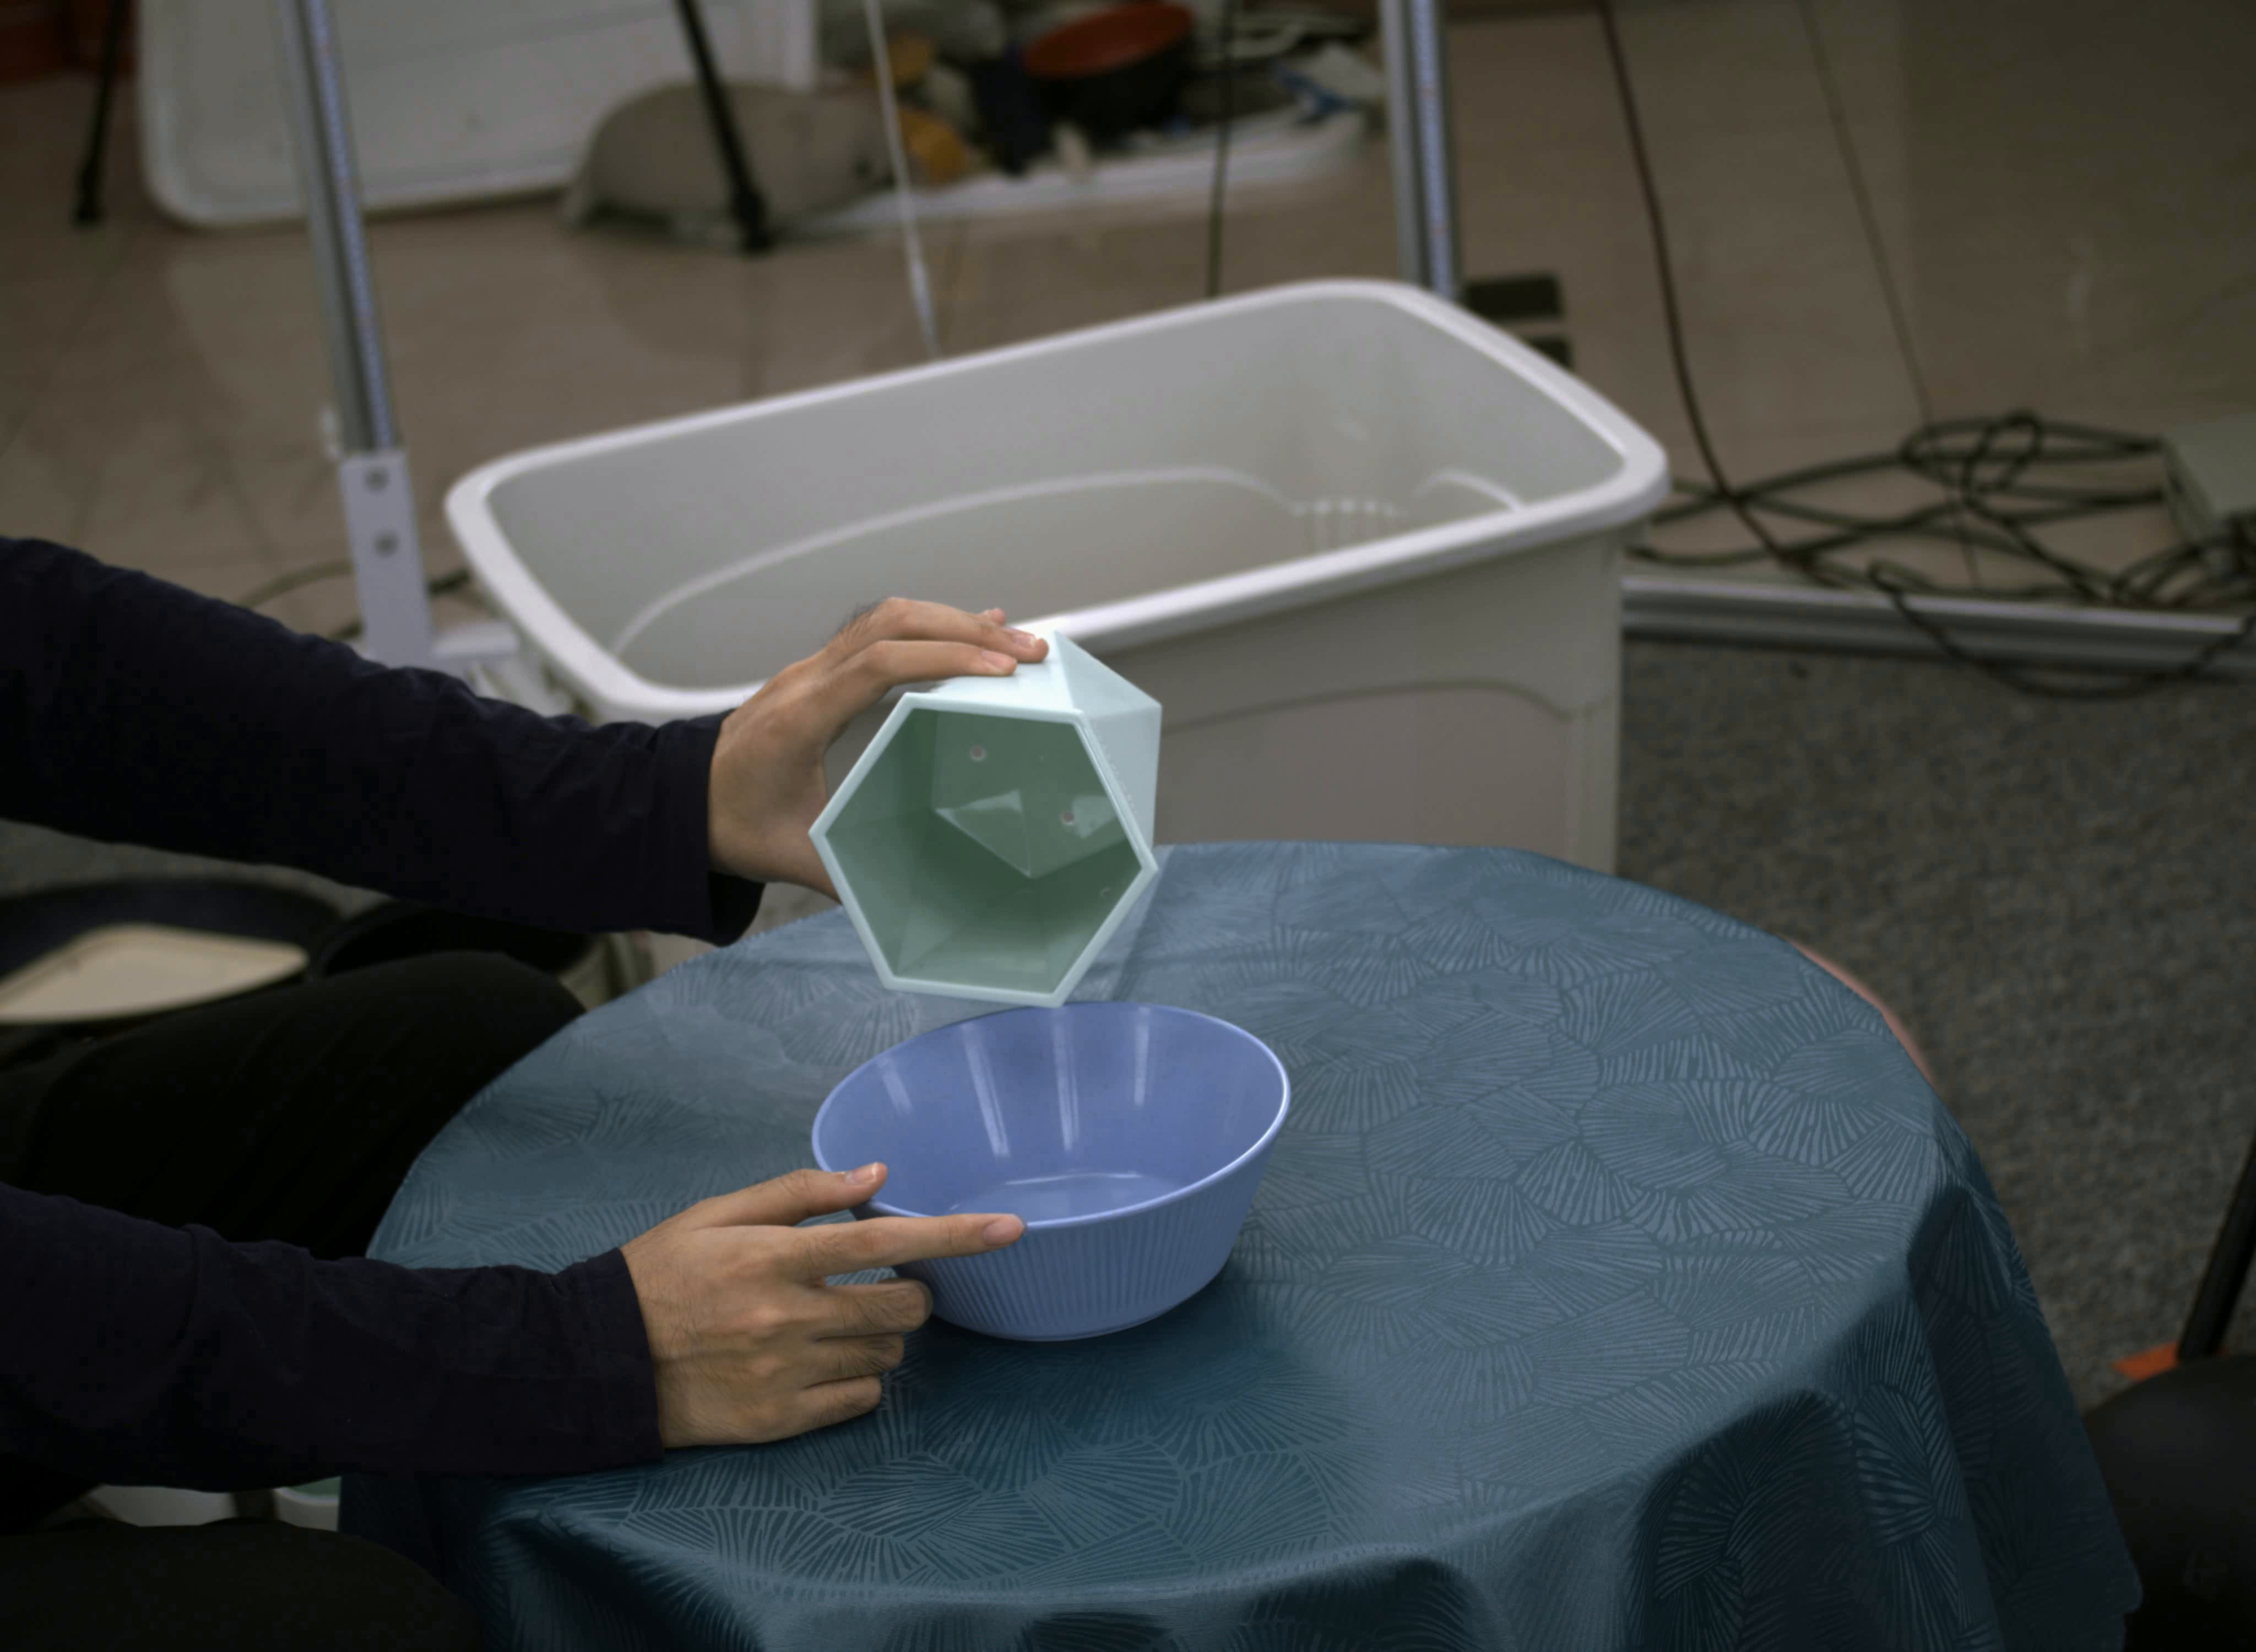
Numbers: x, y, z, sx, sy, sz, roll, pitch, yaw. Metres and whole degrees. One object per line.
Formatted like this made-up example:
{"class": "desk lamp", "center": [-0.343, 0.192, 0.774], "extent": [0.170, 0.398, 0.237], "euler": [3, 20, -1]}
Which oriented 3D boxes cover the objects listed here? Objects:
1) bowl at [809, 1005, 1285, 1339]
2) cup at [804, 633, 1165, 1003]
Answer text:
{"class": "bowl", "center": [-0.026, 0.133, 2.083], "extent": [0.176, 0.071, 0.173], "euler": [-6, 25, 3]}
{"class": "cup", "center": [-0.043, -0.010, 2.161], "extent": [0.115, 0.132, 0.161], "euler": [-26, 8, 14]}
